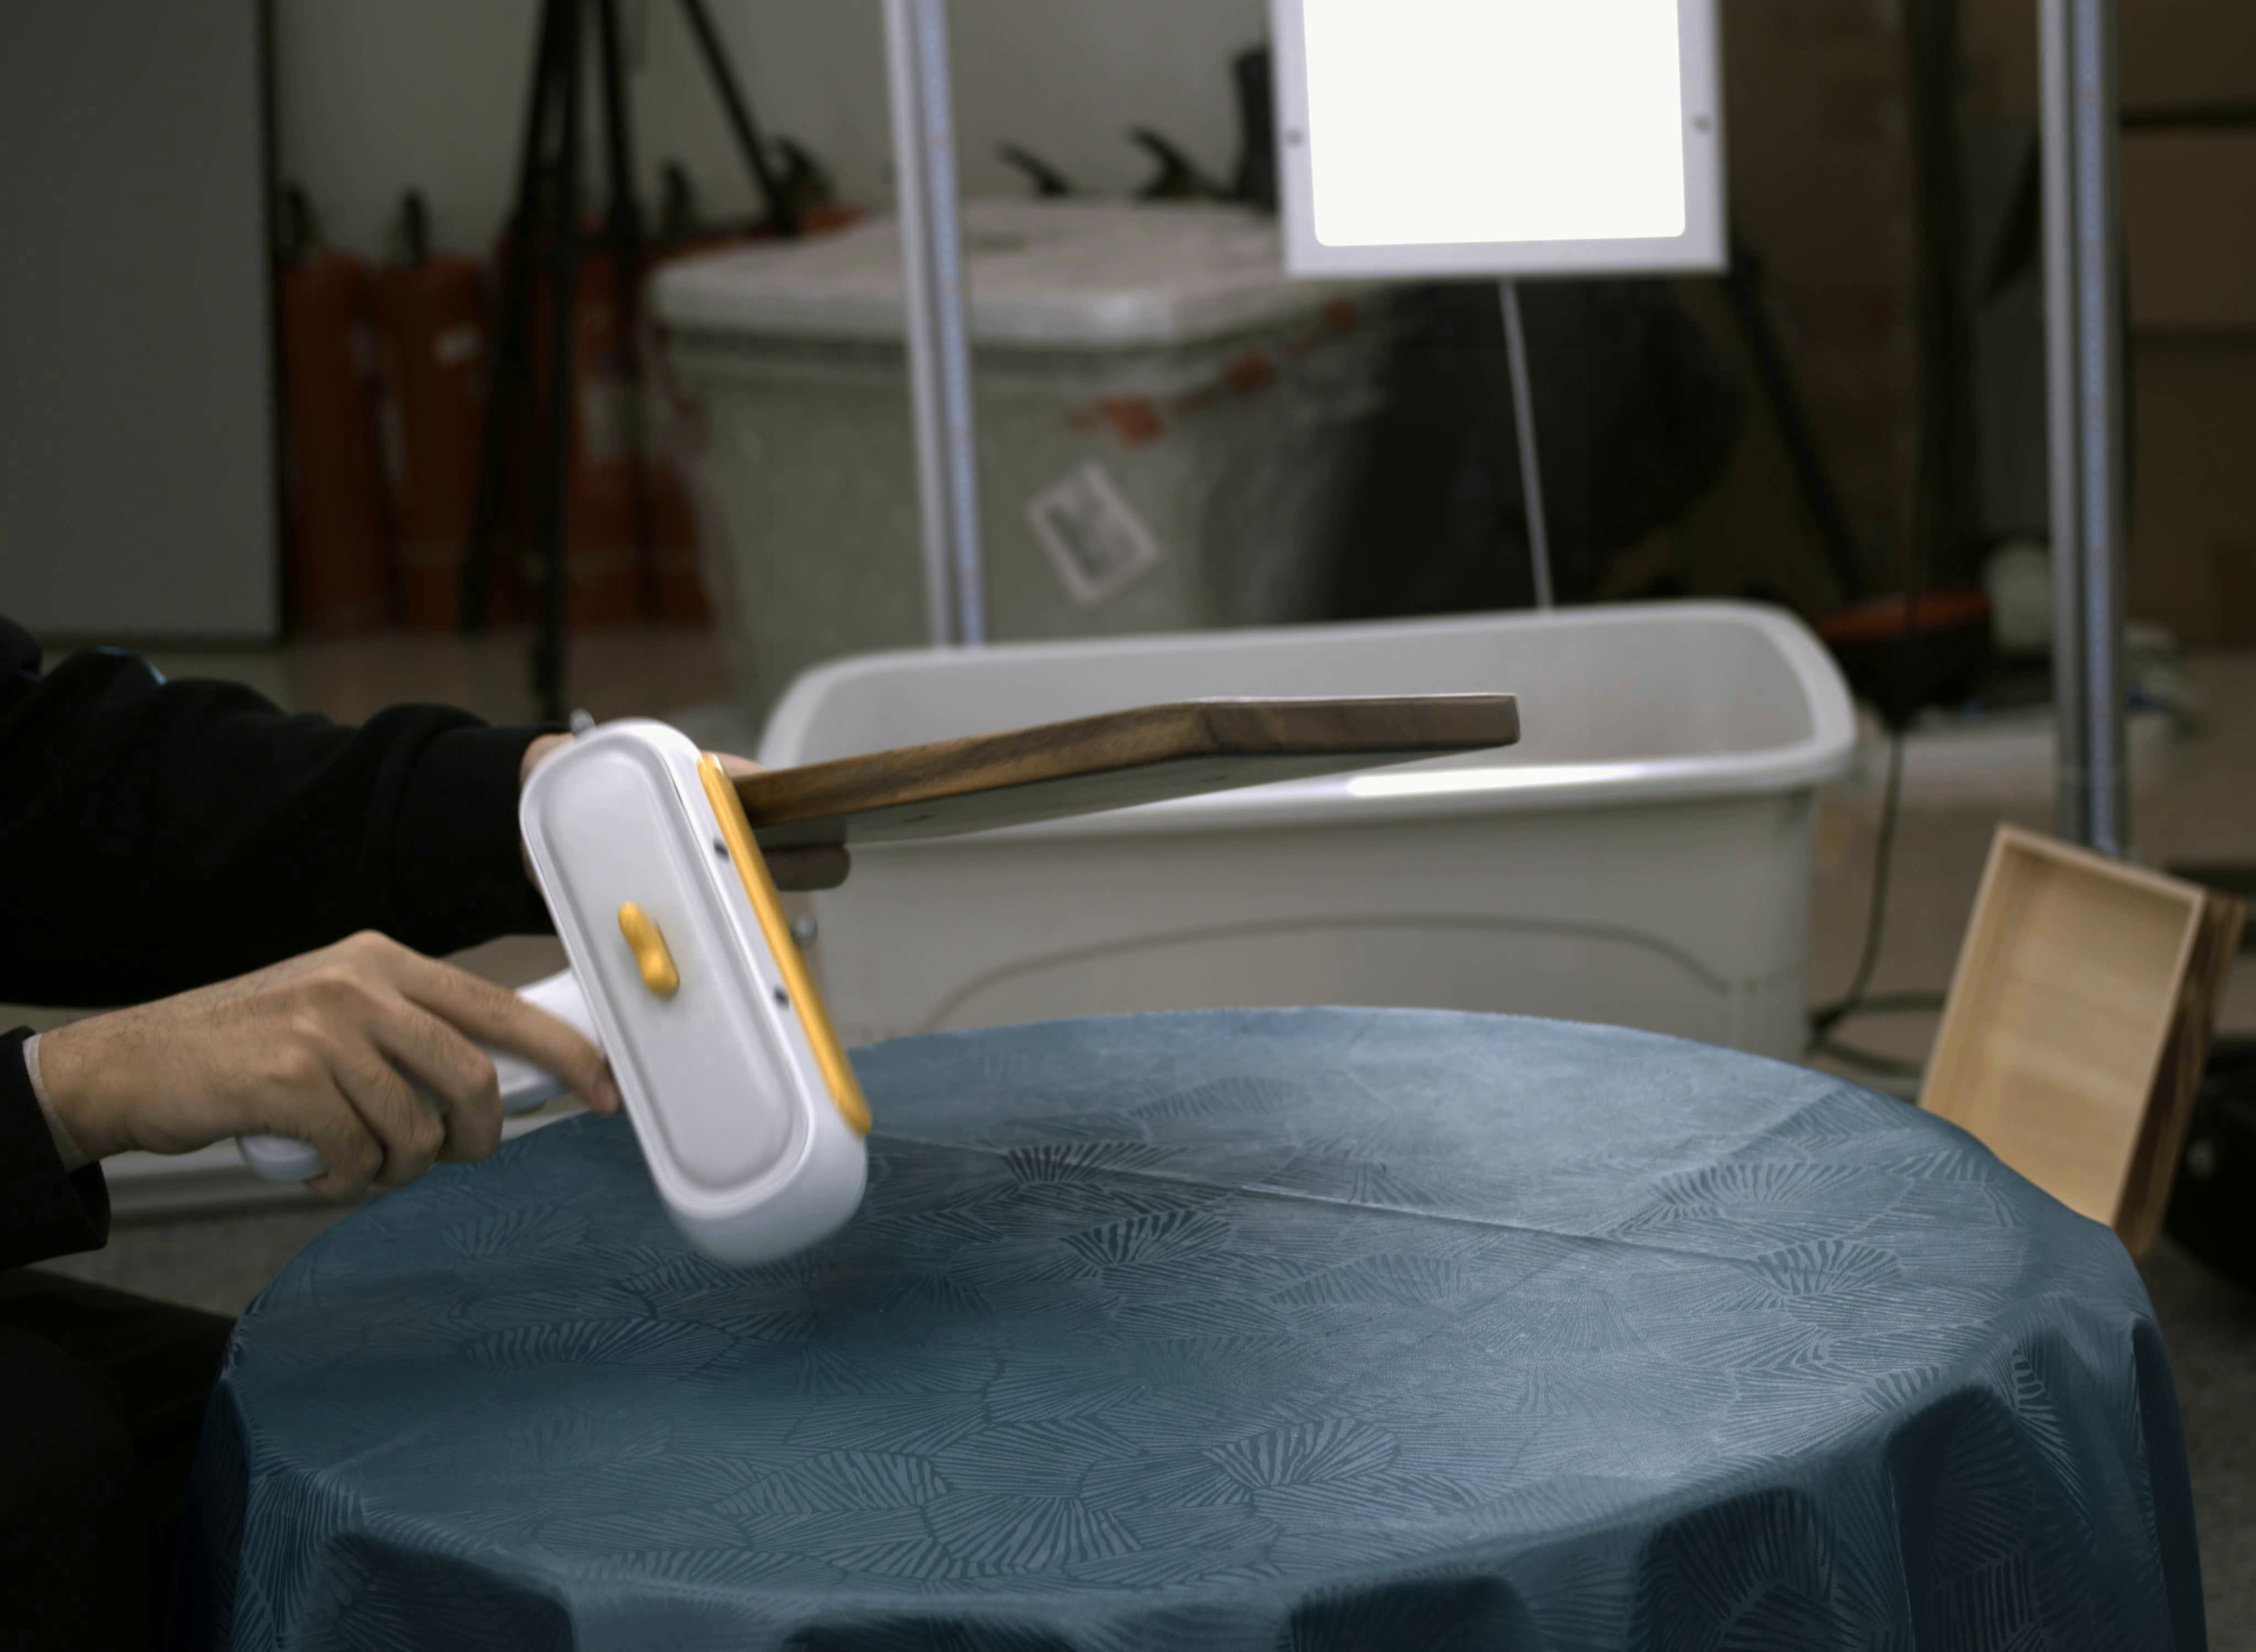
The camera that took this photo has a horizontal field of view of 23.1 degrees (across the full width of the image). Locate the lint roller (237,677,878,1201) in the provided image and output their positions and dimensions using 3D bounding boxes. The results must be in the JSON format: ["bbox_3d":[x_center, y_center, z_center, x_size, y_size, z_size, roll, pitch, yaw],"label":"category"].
[{"bbox_3d":[-0.197,0.063,1.792,0.192,0.194,0.074,-32,-24,-1],"label":"lint roller"}]

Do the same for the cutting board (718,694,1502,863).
[{"bbox_3d":[-0.065,-0.009,1.904,0.360,0.023,0.196,-10,-3,36],"label":"cutting board"}]
